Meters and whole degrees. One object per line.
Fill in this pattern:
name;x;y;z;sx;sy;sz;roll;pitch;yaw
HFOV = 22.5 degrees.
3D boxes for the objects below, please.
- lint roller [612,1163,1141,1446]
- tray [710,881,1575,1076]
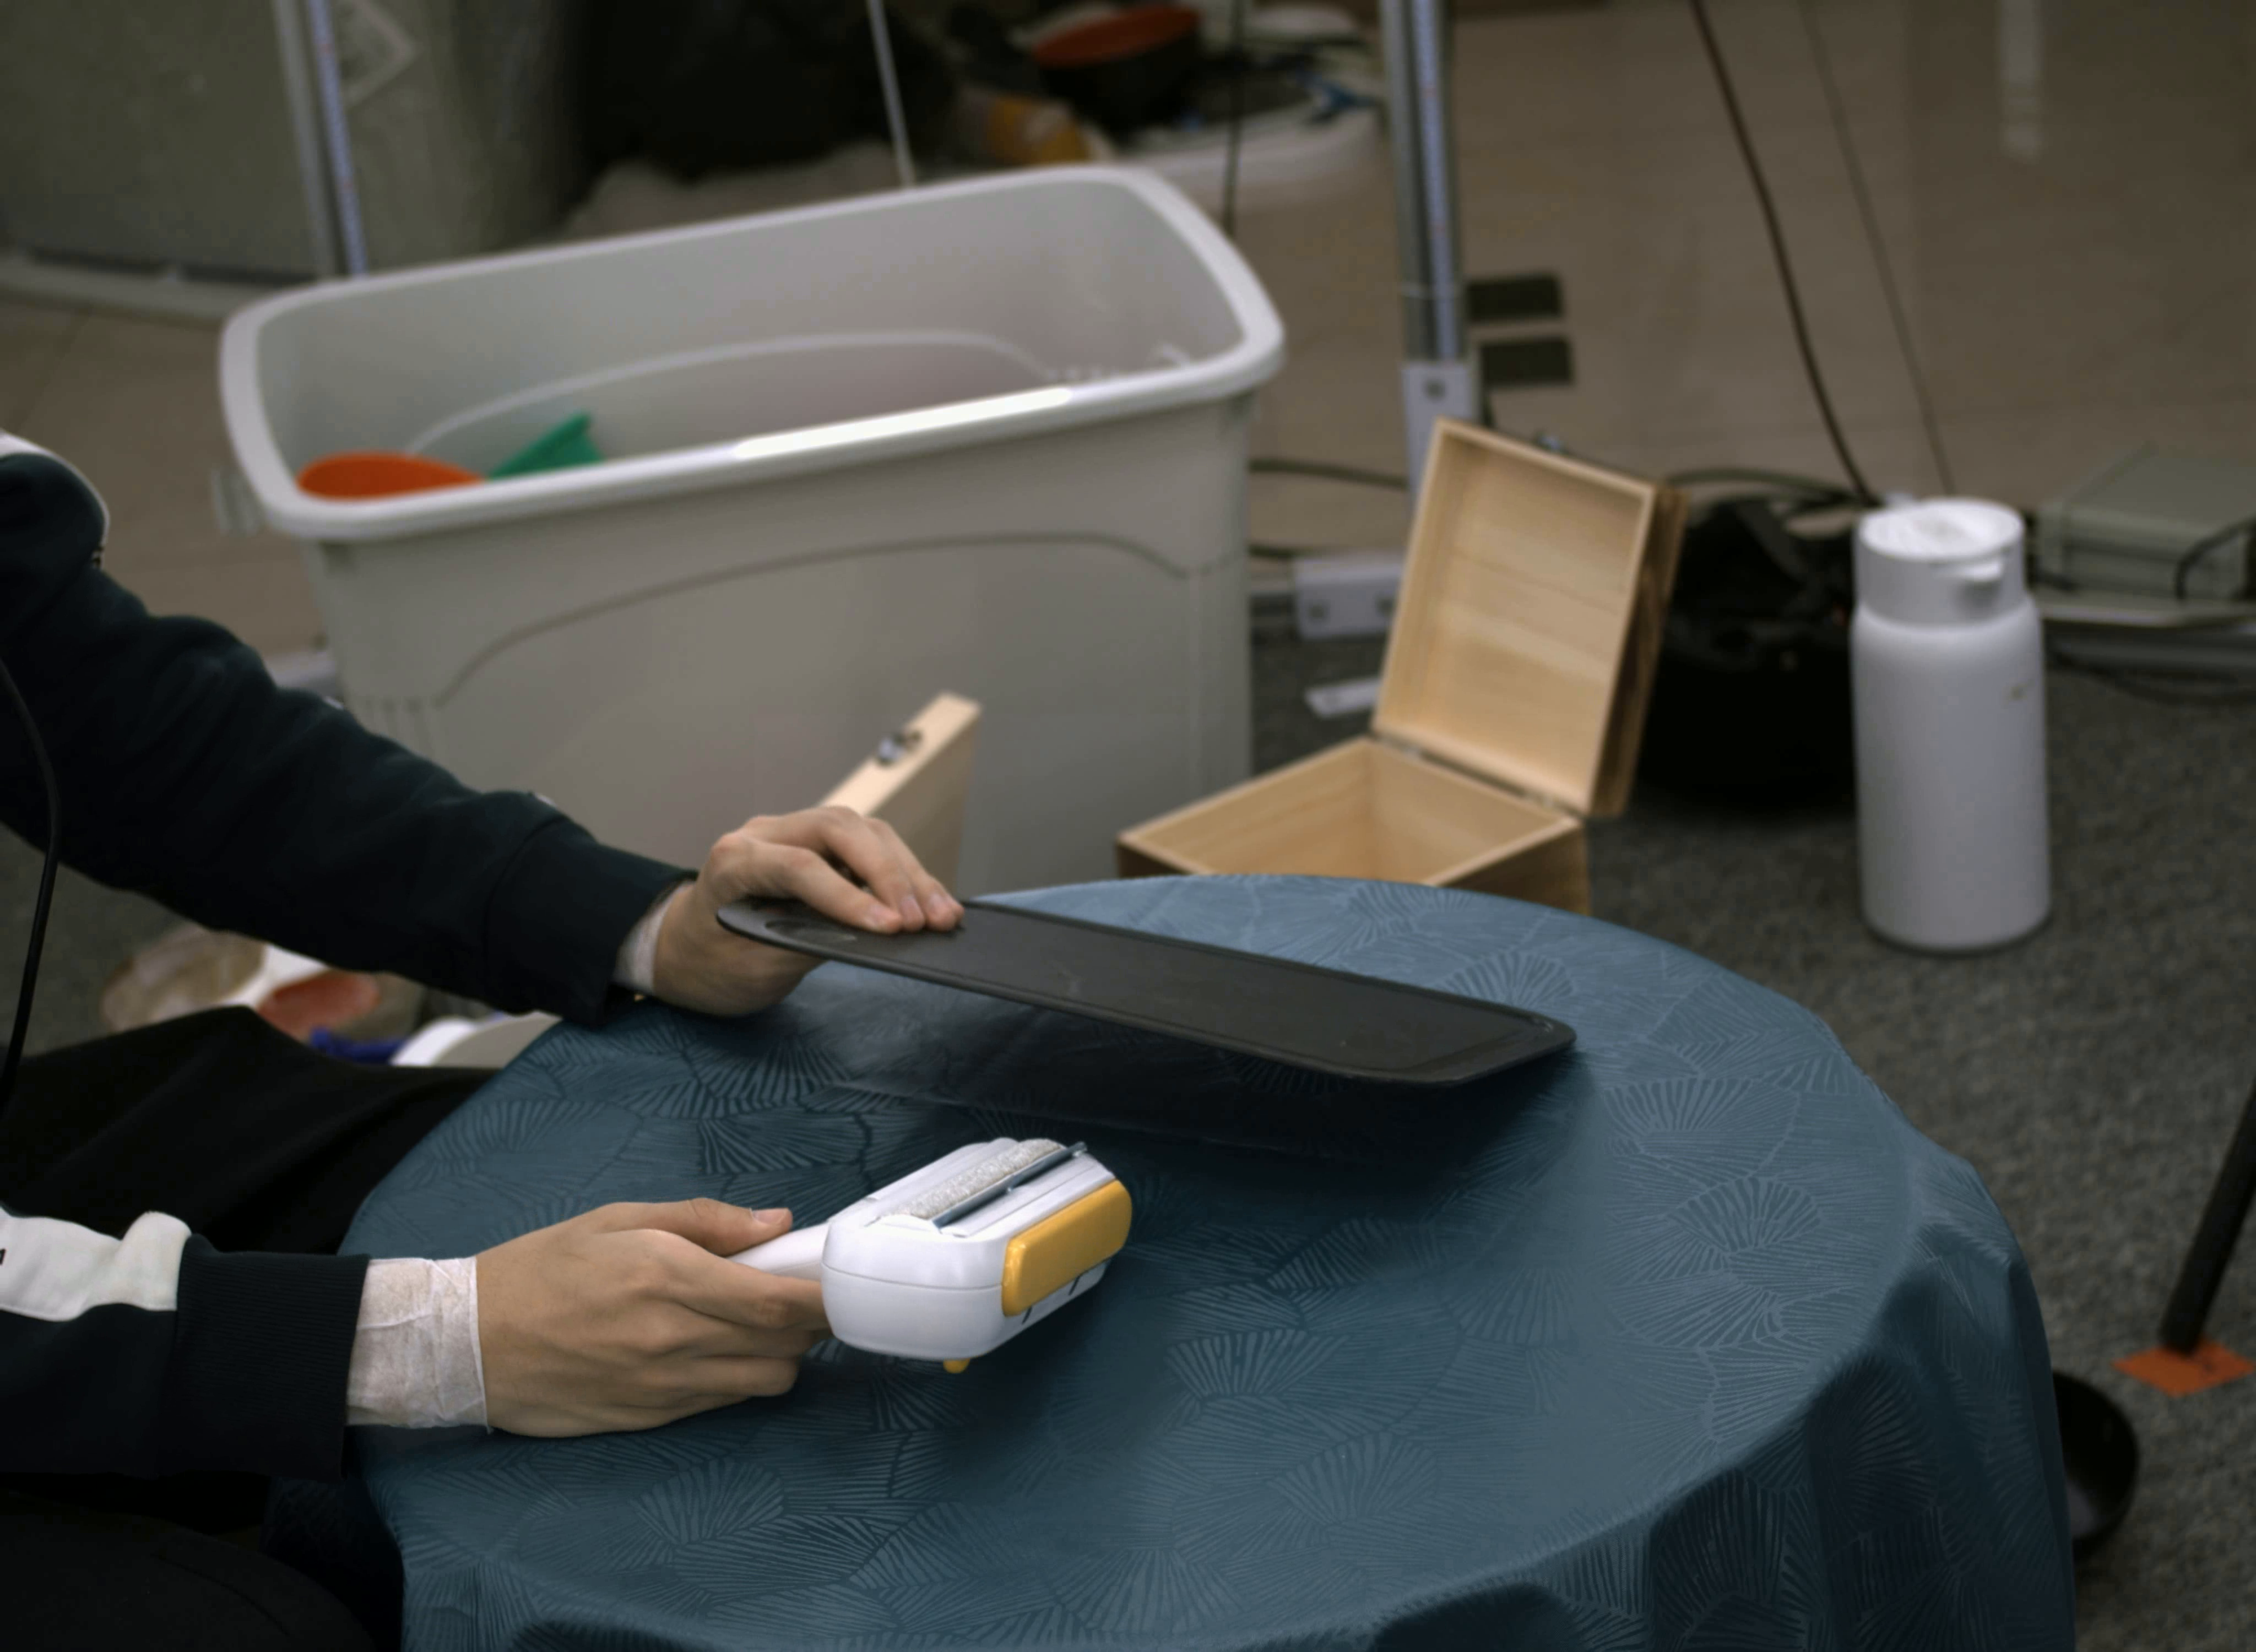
lint roller;-0.105;0.176;2.031;0.193;0.074;0.192;-15;3;24
tray;0.000;0.055;2.195;0.324;0.010;0.210;12;8;23
